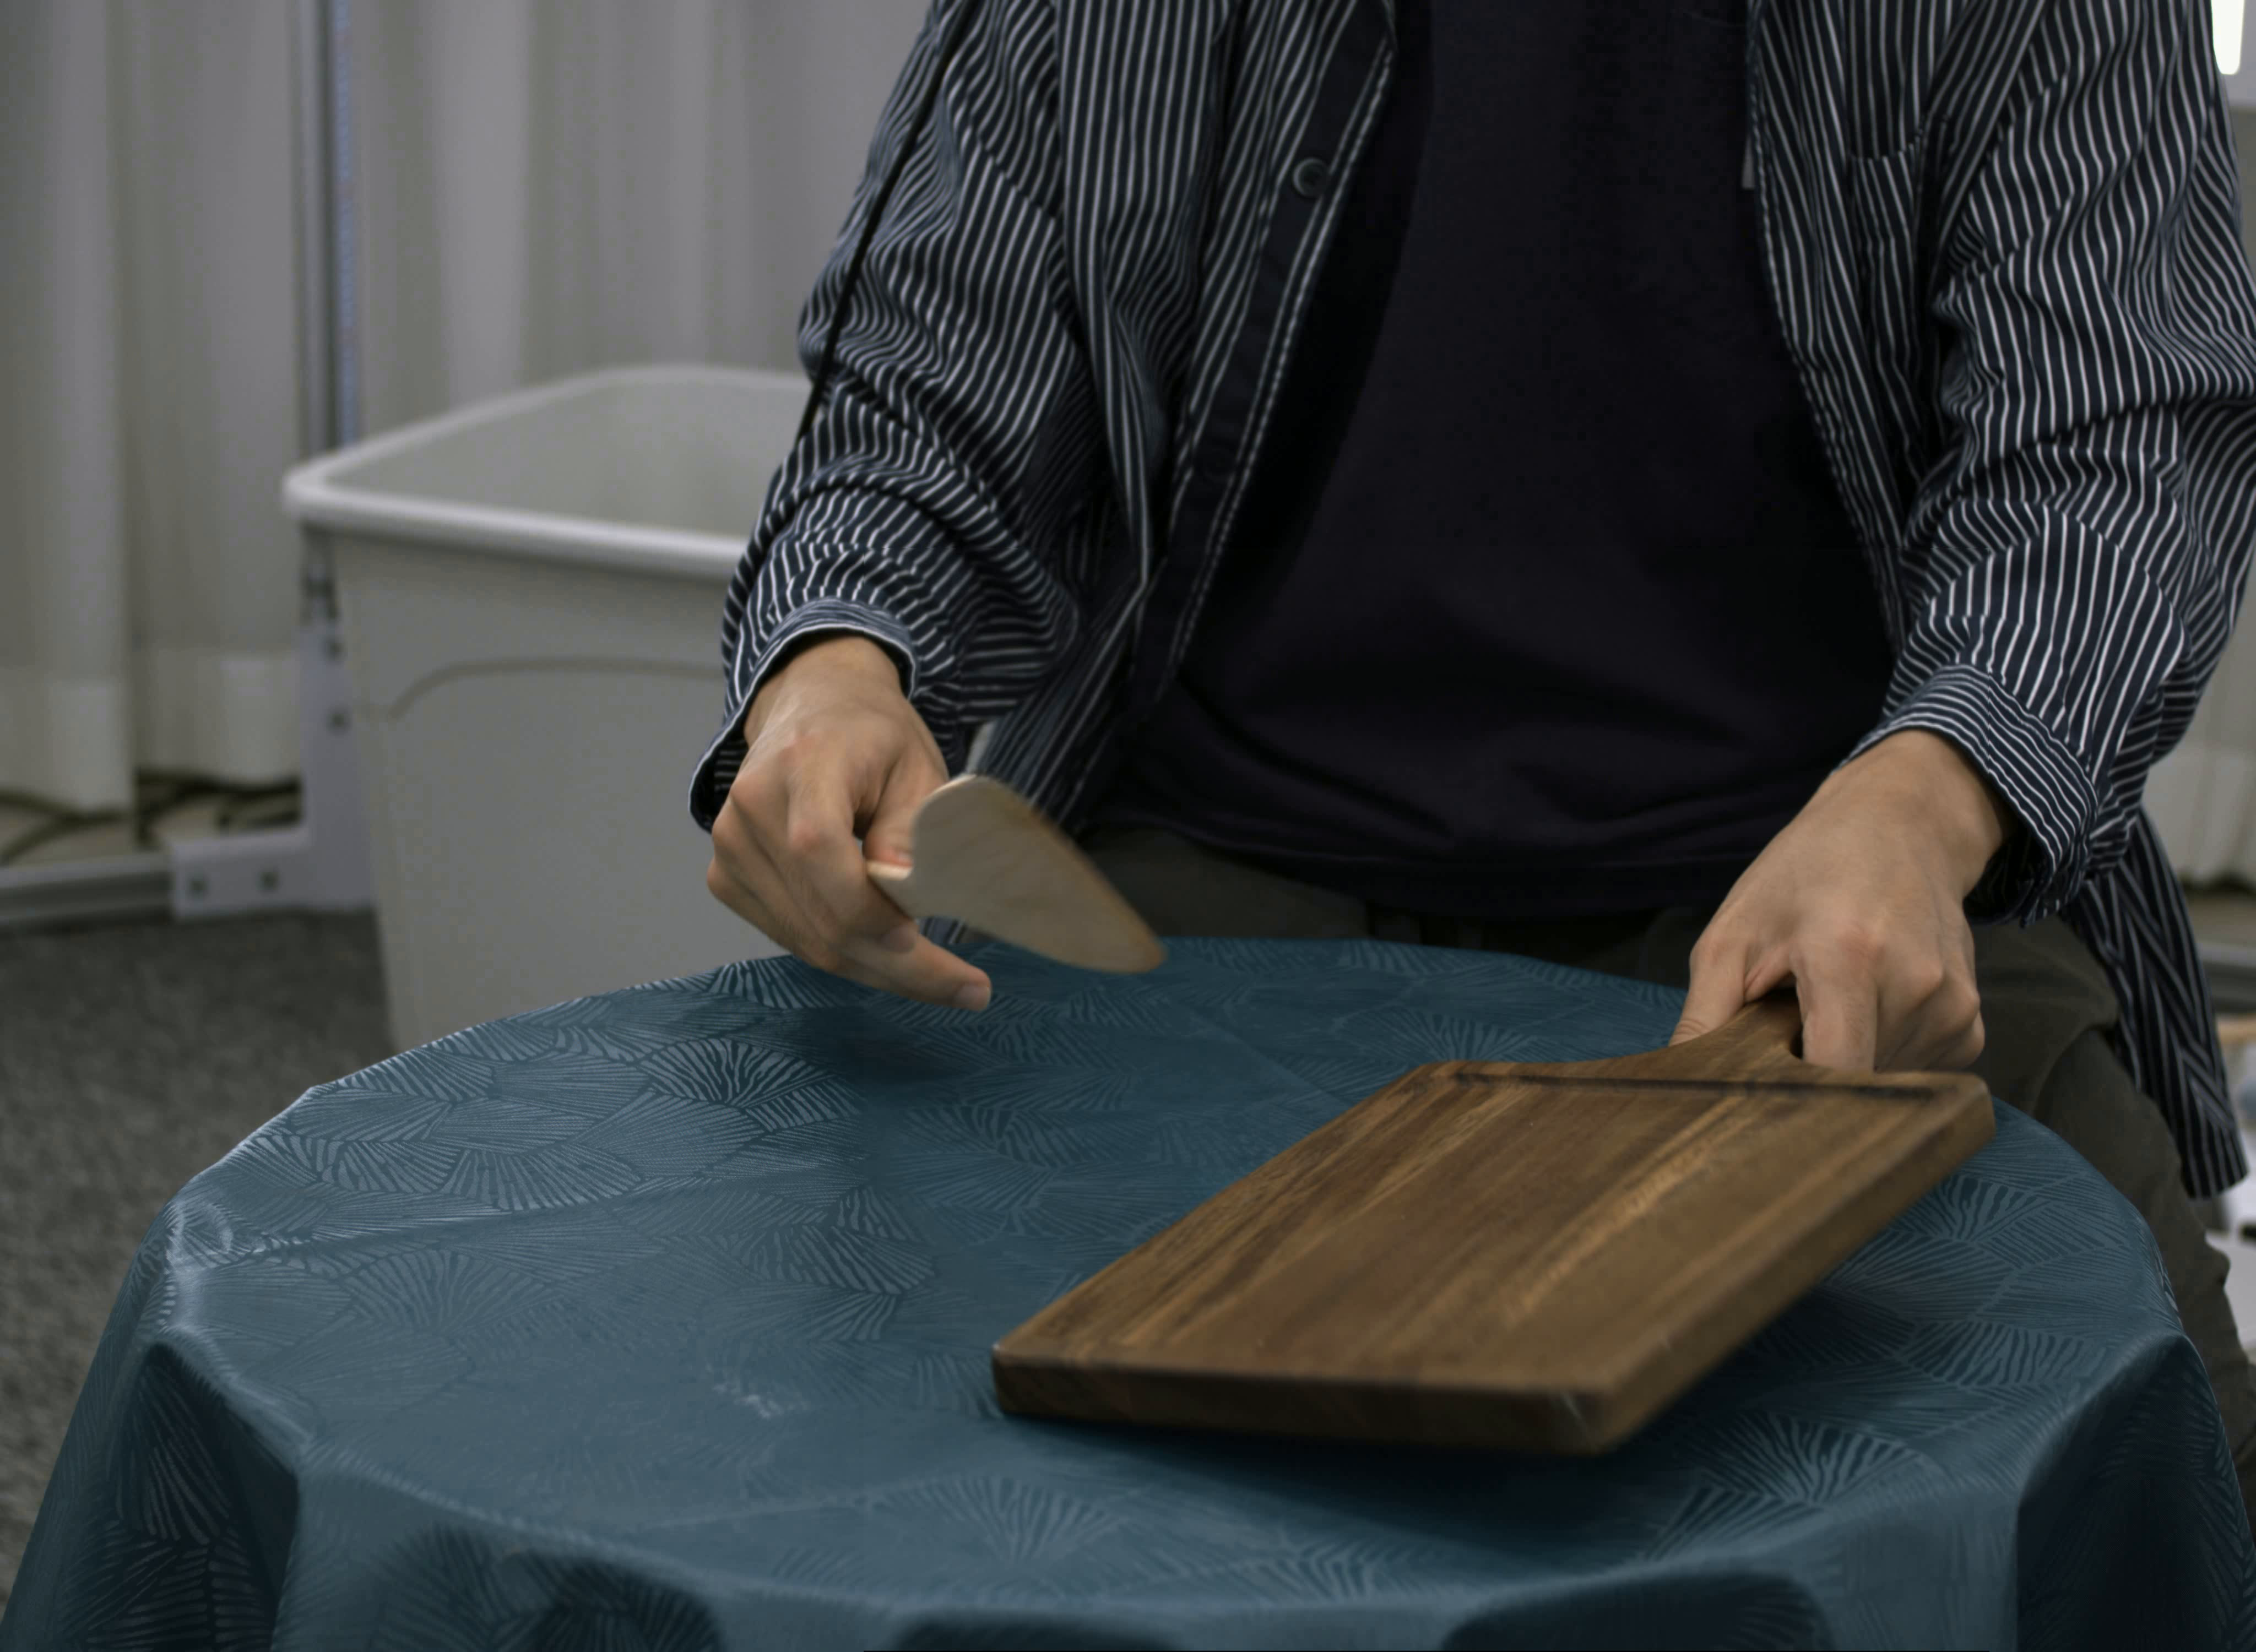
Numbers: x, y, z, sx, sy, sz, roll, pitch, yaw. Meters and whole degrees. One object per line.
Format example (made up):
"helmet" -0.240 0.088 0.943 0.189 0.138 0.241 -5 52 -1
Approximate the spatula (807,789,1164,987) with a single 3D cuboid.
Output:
"spatula" -0.056 0.021 1.624 0.080 0.016 0.326 42 -10 -10

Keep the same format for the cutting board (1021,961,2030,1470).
"cutting board" 0.143 0.103 1.523 0.199 0.023 0.353 1 18 35
